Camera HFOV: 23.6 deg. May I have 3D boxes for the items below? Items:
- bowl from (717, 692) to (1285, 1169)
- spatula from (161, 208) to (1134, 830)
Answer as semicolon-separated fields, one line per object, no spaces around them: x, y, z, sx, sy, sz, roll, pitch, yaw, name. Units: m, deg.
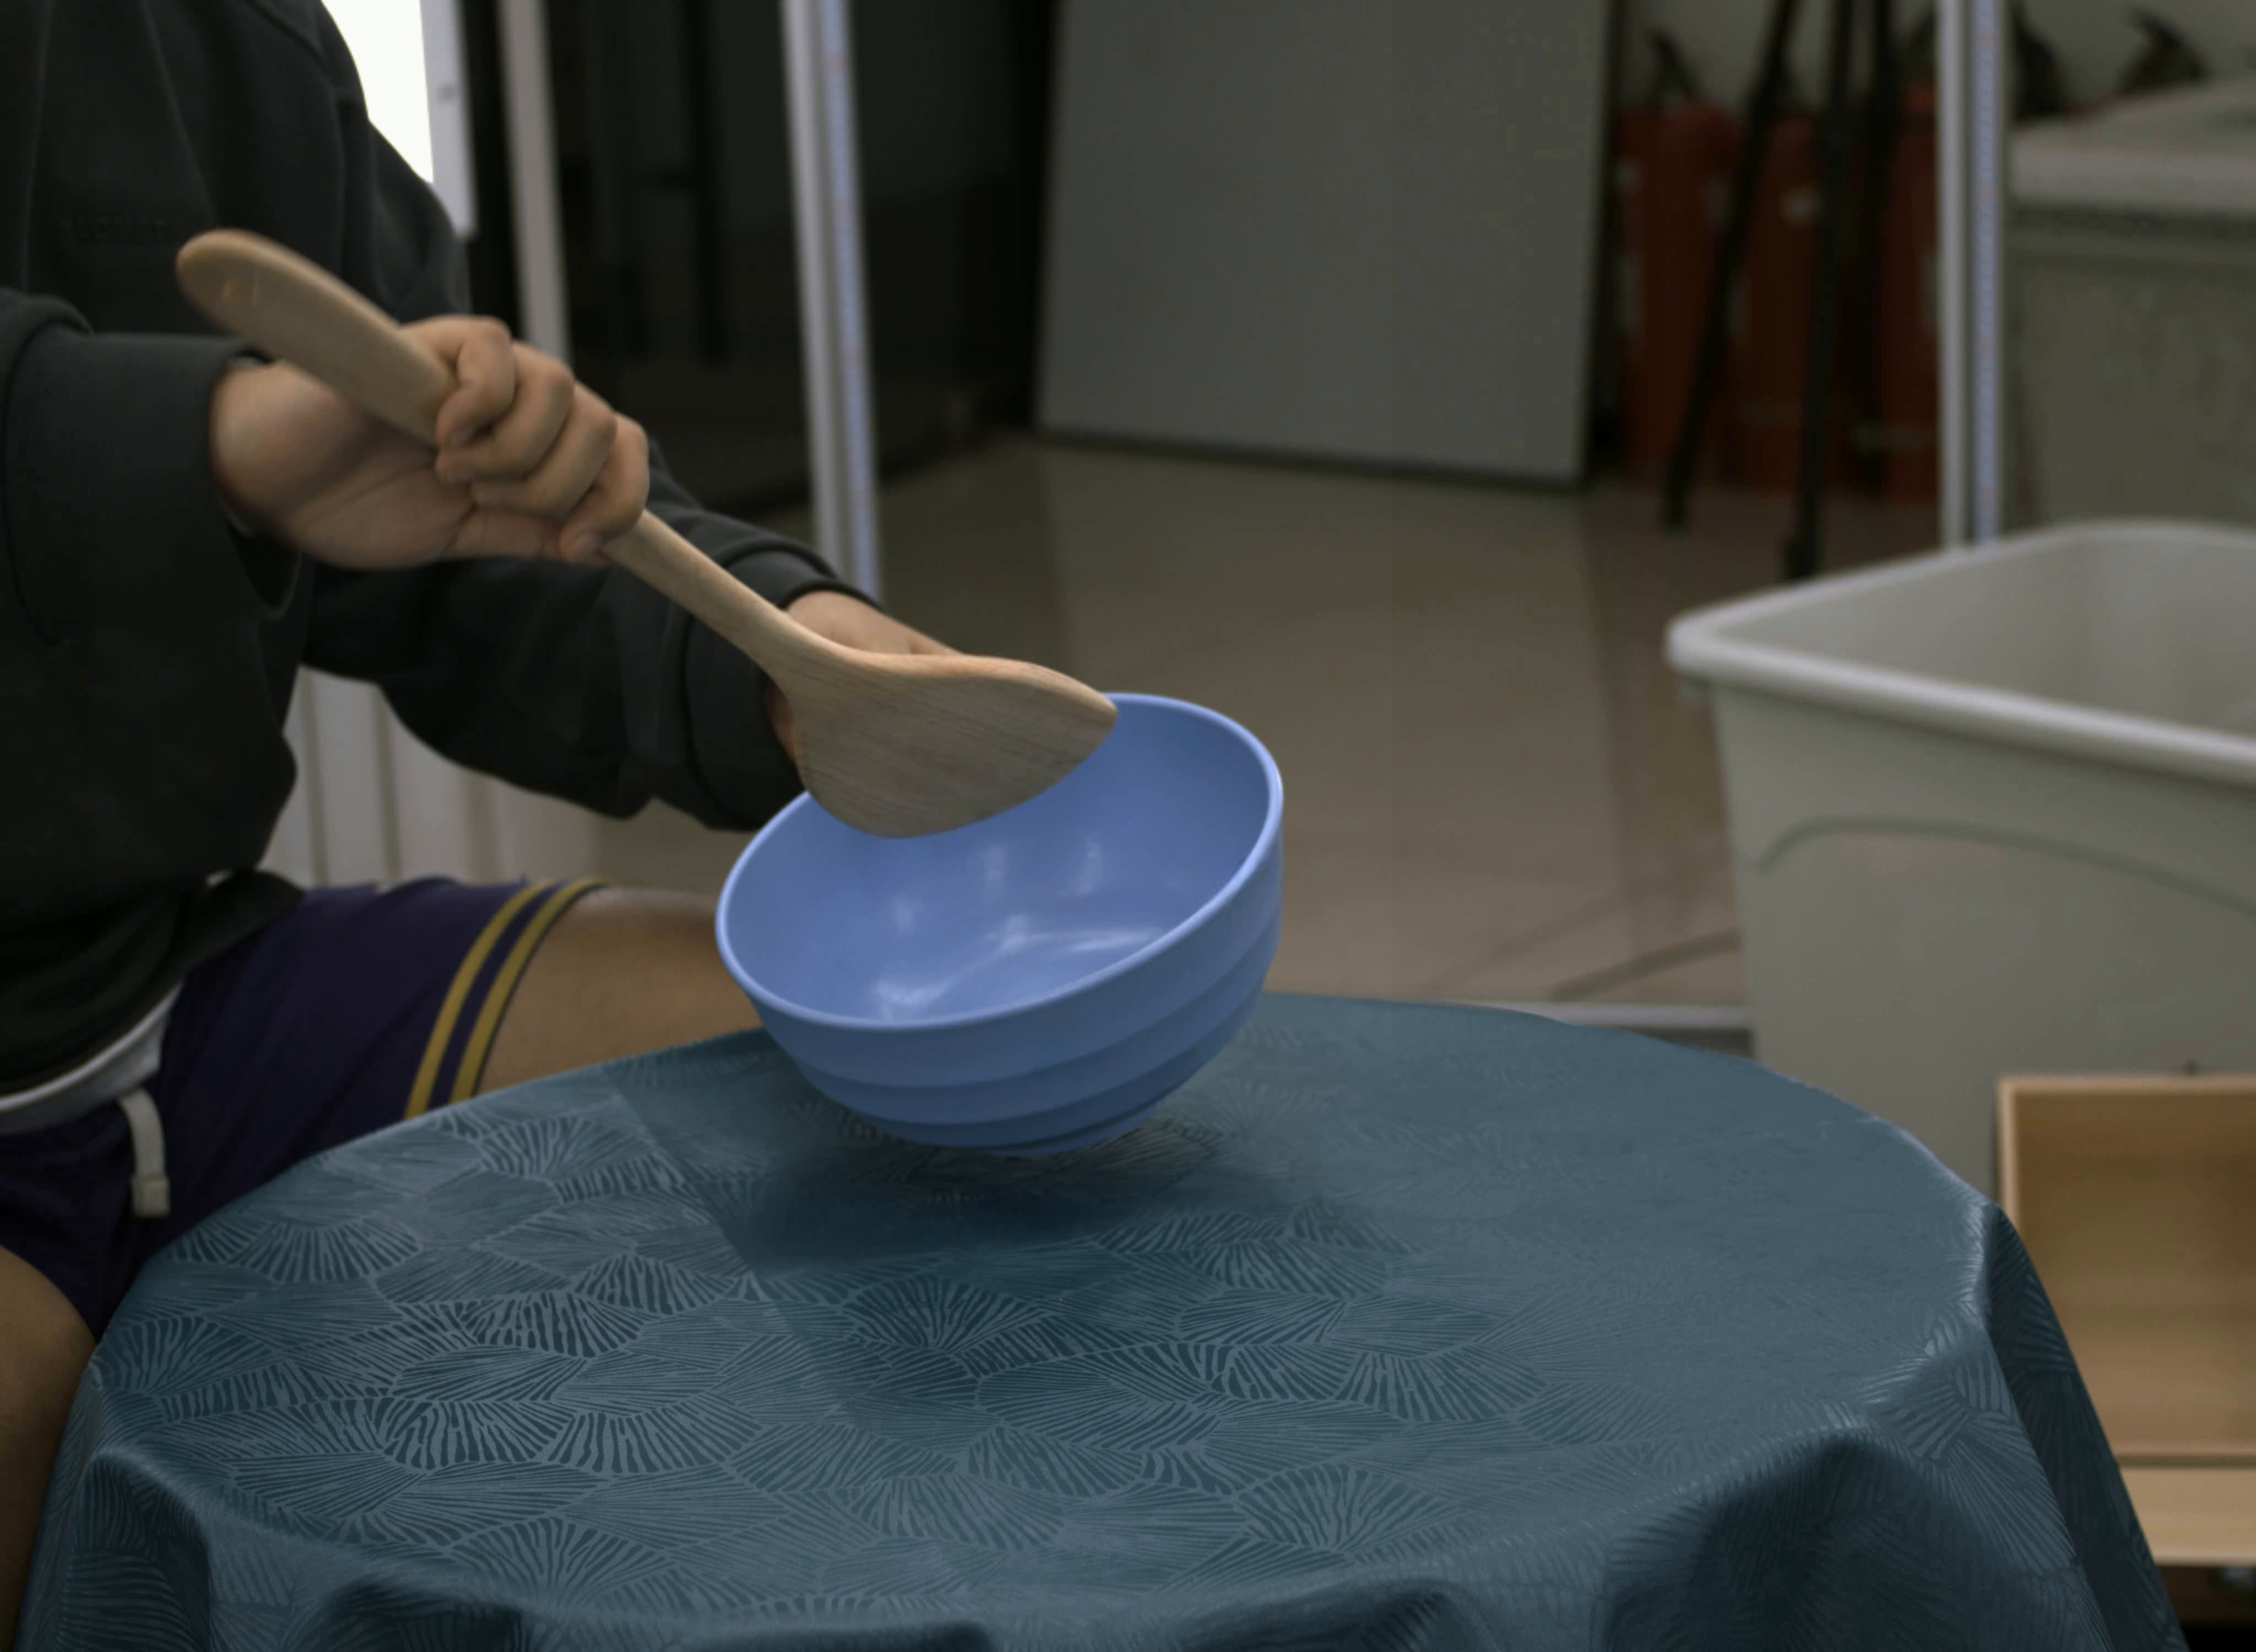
-0.032;0.049;1.807;0.195;0.095;0.197;-13;31;7;bowl
-0.139;-0.089;1.606;0.096;0.019;0.384;-32;-42;23;spatula
